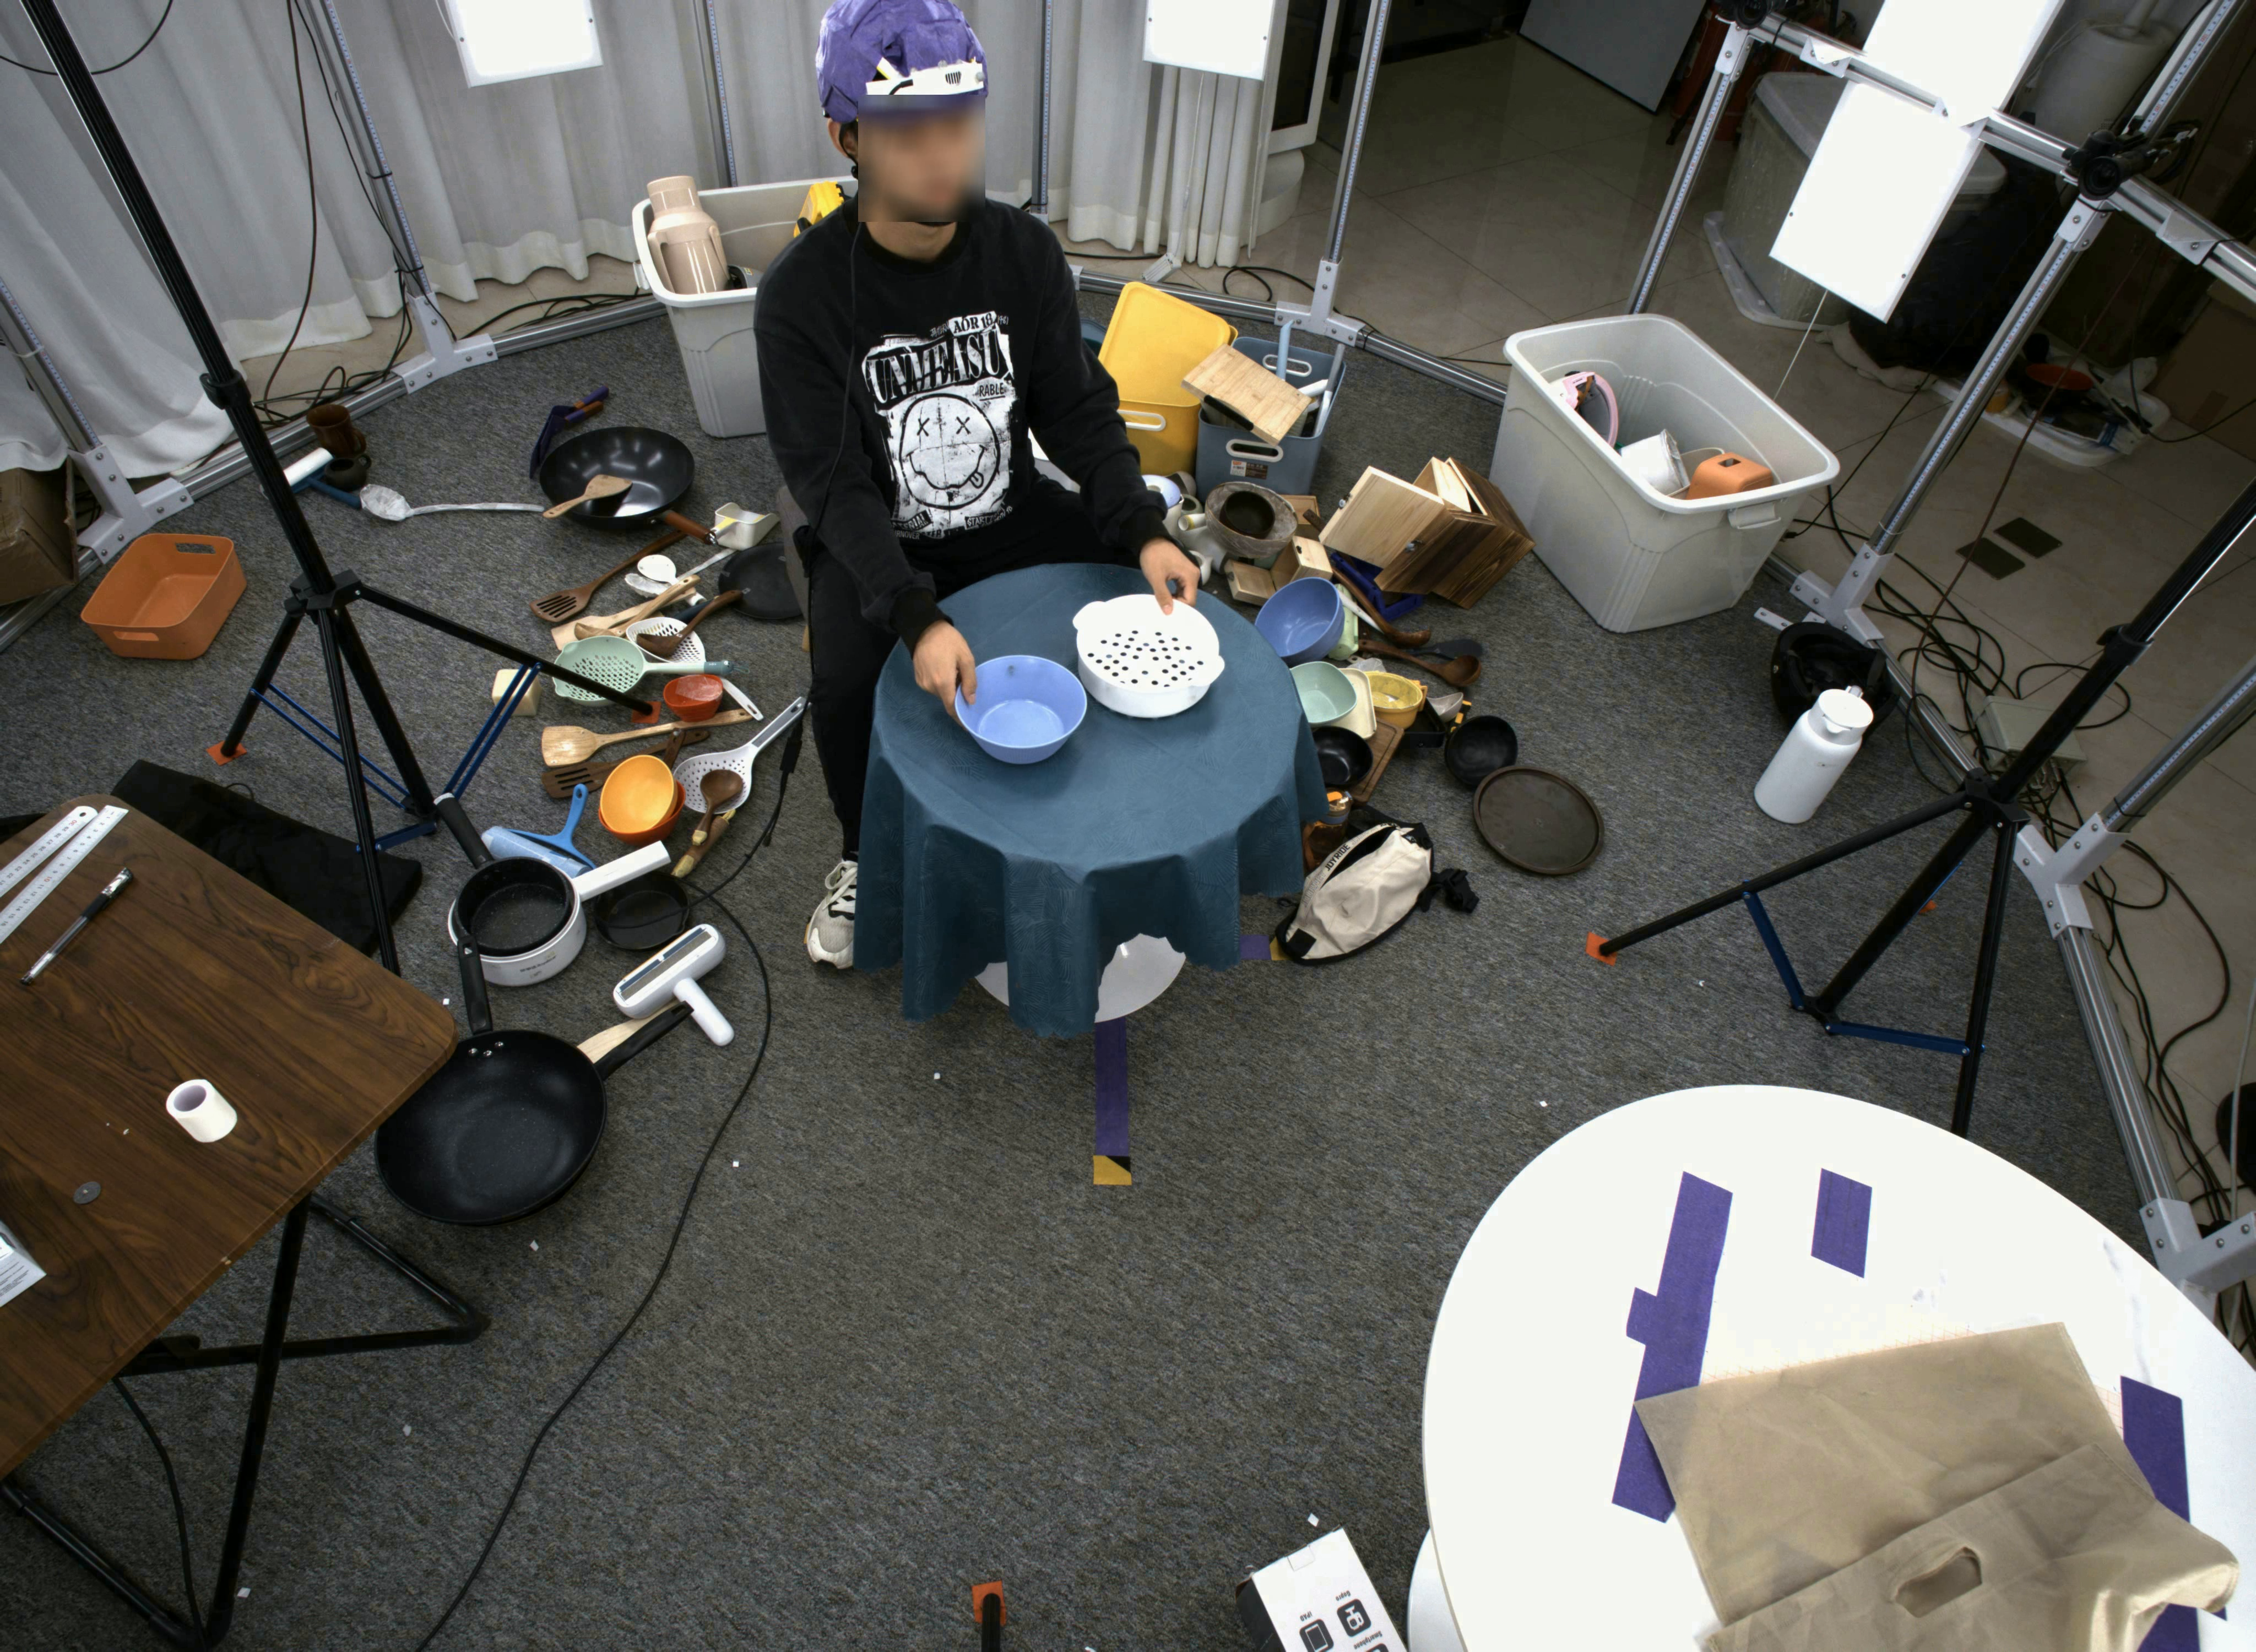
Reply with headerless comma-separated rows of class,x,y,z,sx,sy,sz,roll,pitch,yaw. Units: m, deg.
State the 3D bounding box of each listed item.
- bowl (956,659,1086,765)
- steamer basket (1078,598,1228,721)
bowl,-0.146,-0.147,1.756,0.176,0.068,0.180,2,48,-3
steamer basket,0.032,-0.239,1.851,0.232,0.067,0.205,28,53,17
